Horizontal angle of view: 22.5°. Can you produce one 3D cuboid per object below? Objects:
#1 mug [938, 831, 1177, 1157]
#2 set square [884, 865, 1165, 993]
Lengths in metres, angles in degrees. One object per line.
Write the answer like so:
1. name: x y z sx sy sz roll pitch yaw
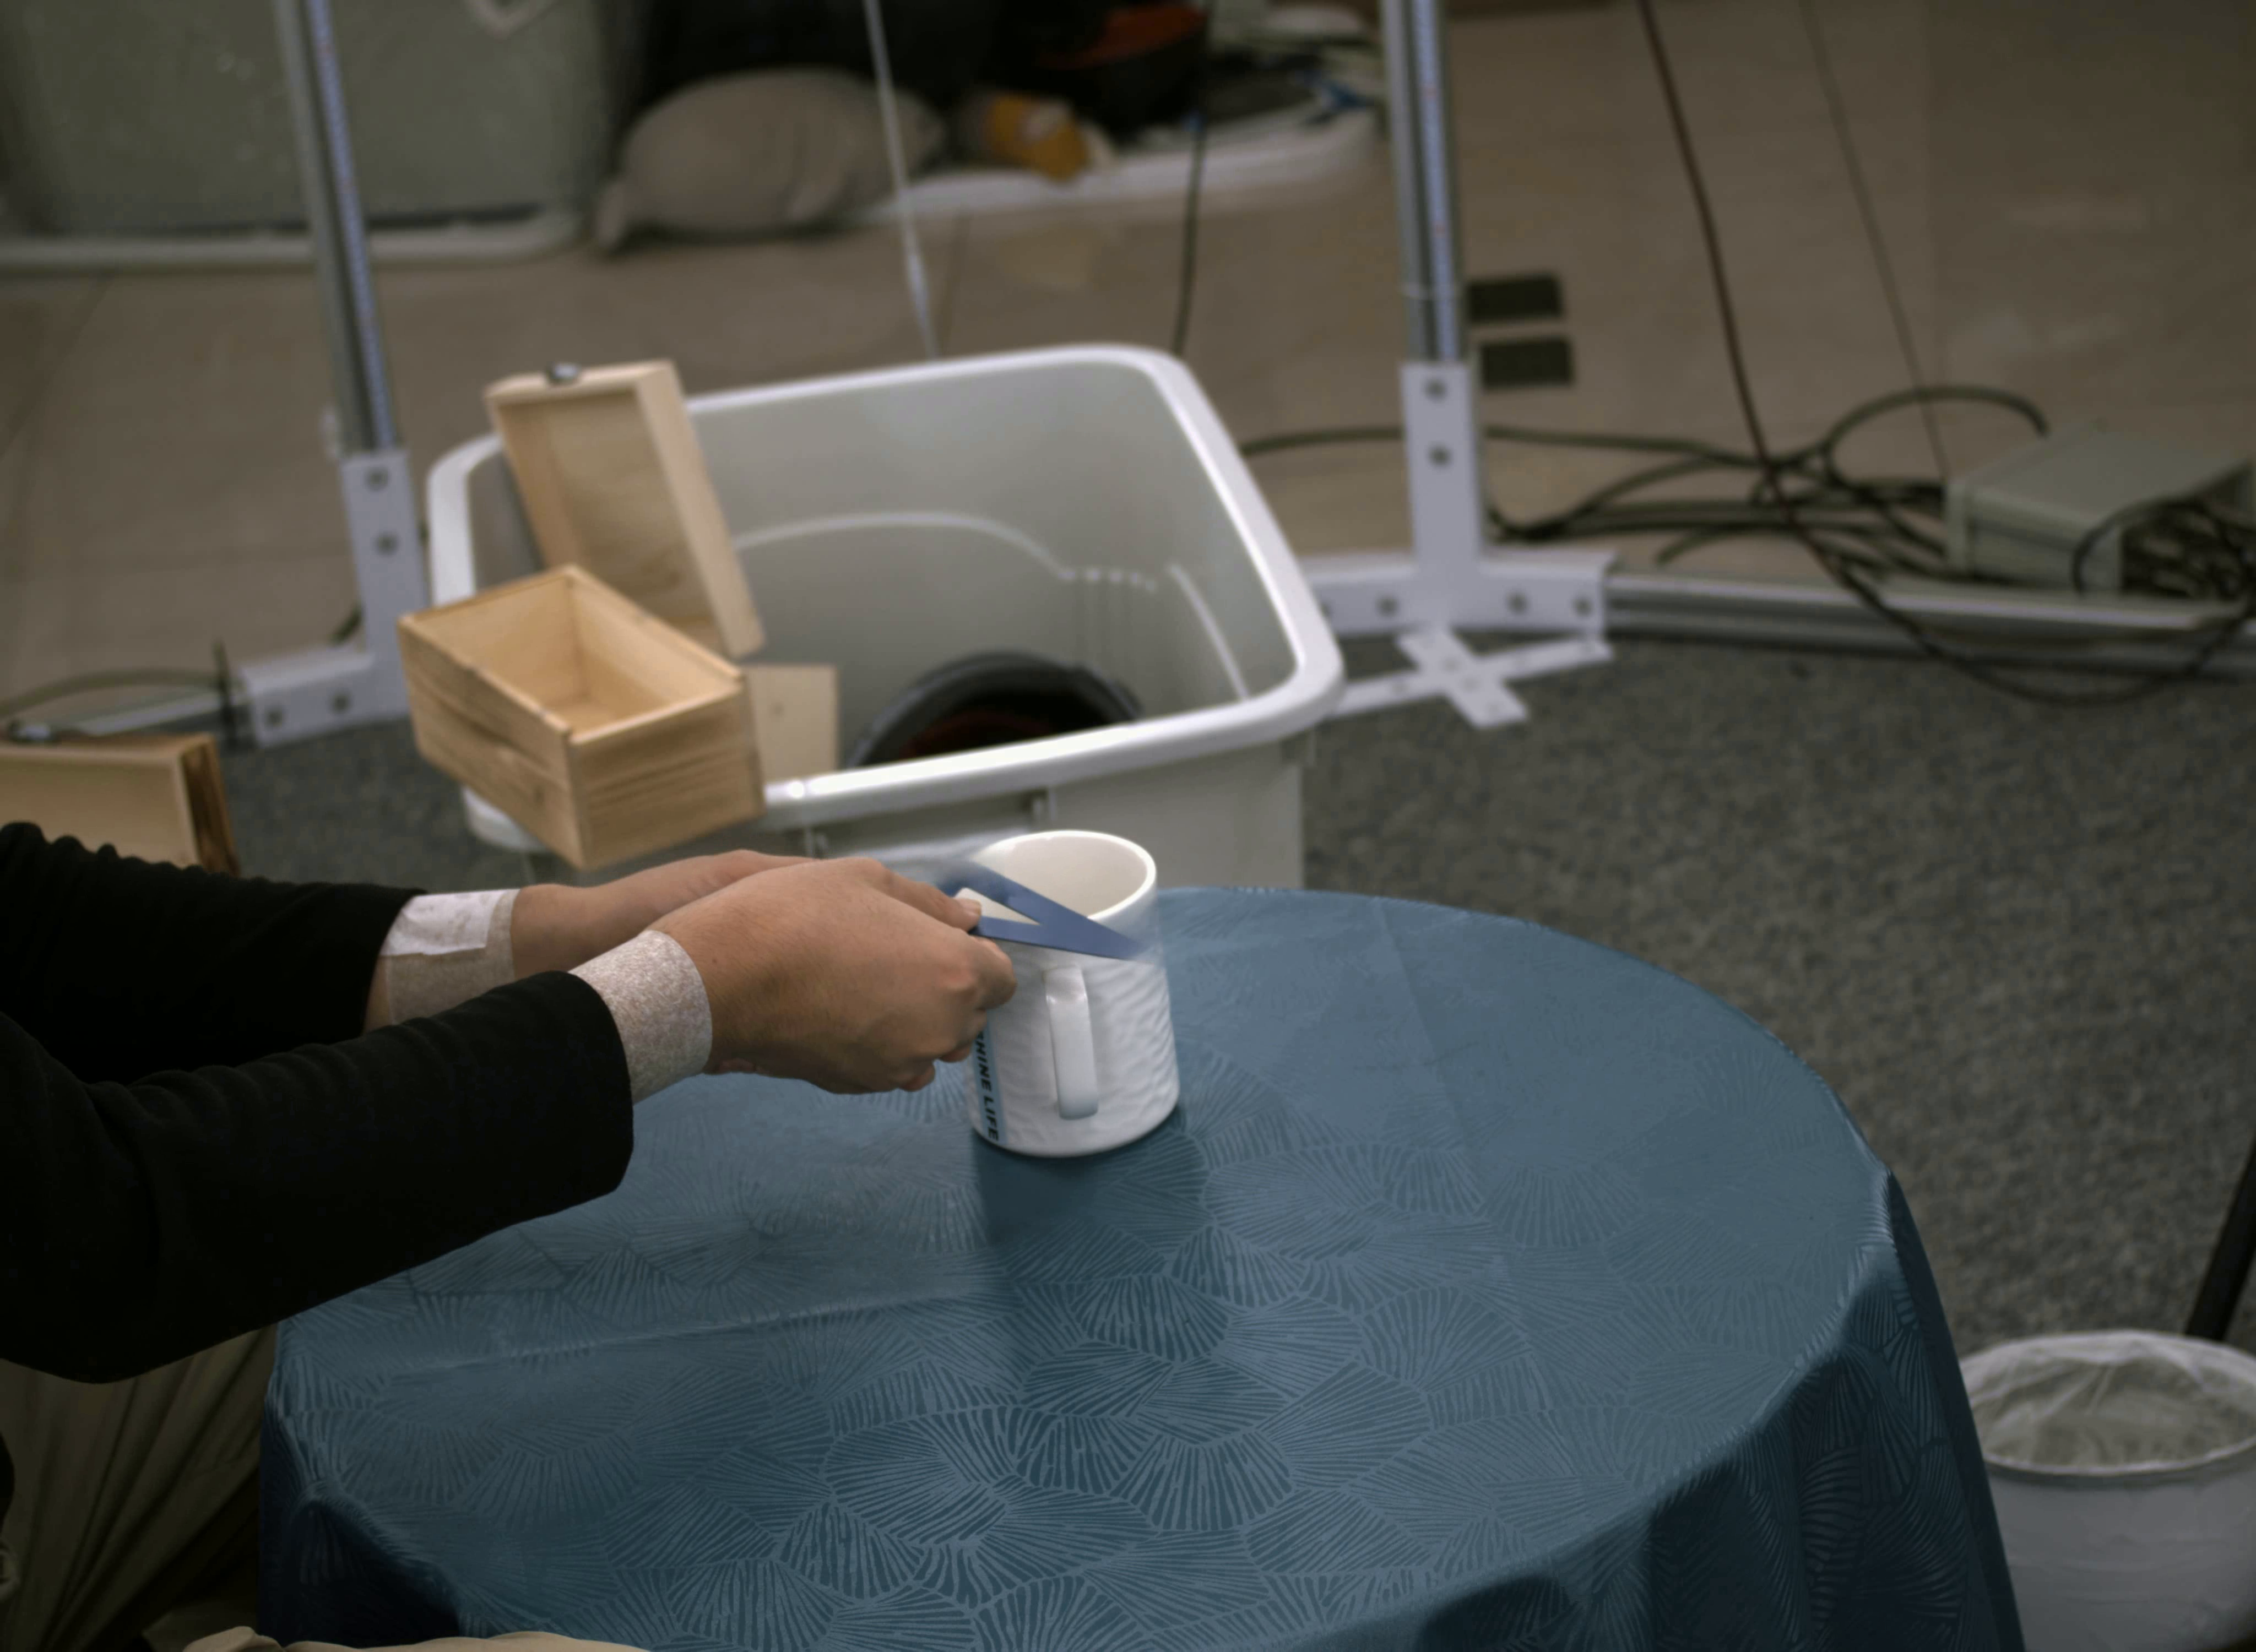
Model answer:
1. mug: -0.025 0.072 2.175 0.085 0.103 0.116 -7 25 -3
2. set square: -0.045 0.041 2.089 0.061 0.006 0.130 -14 28 -35
